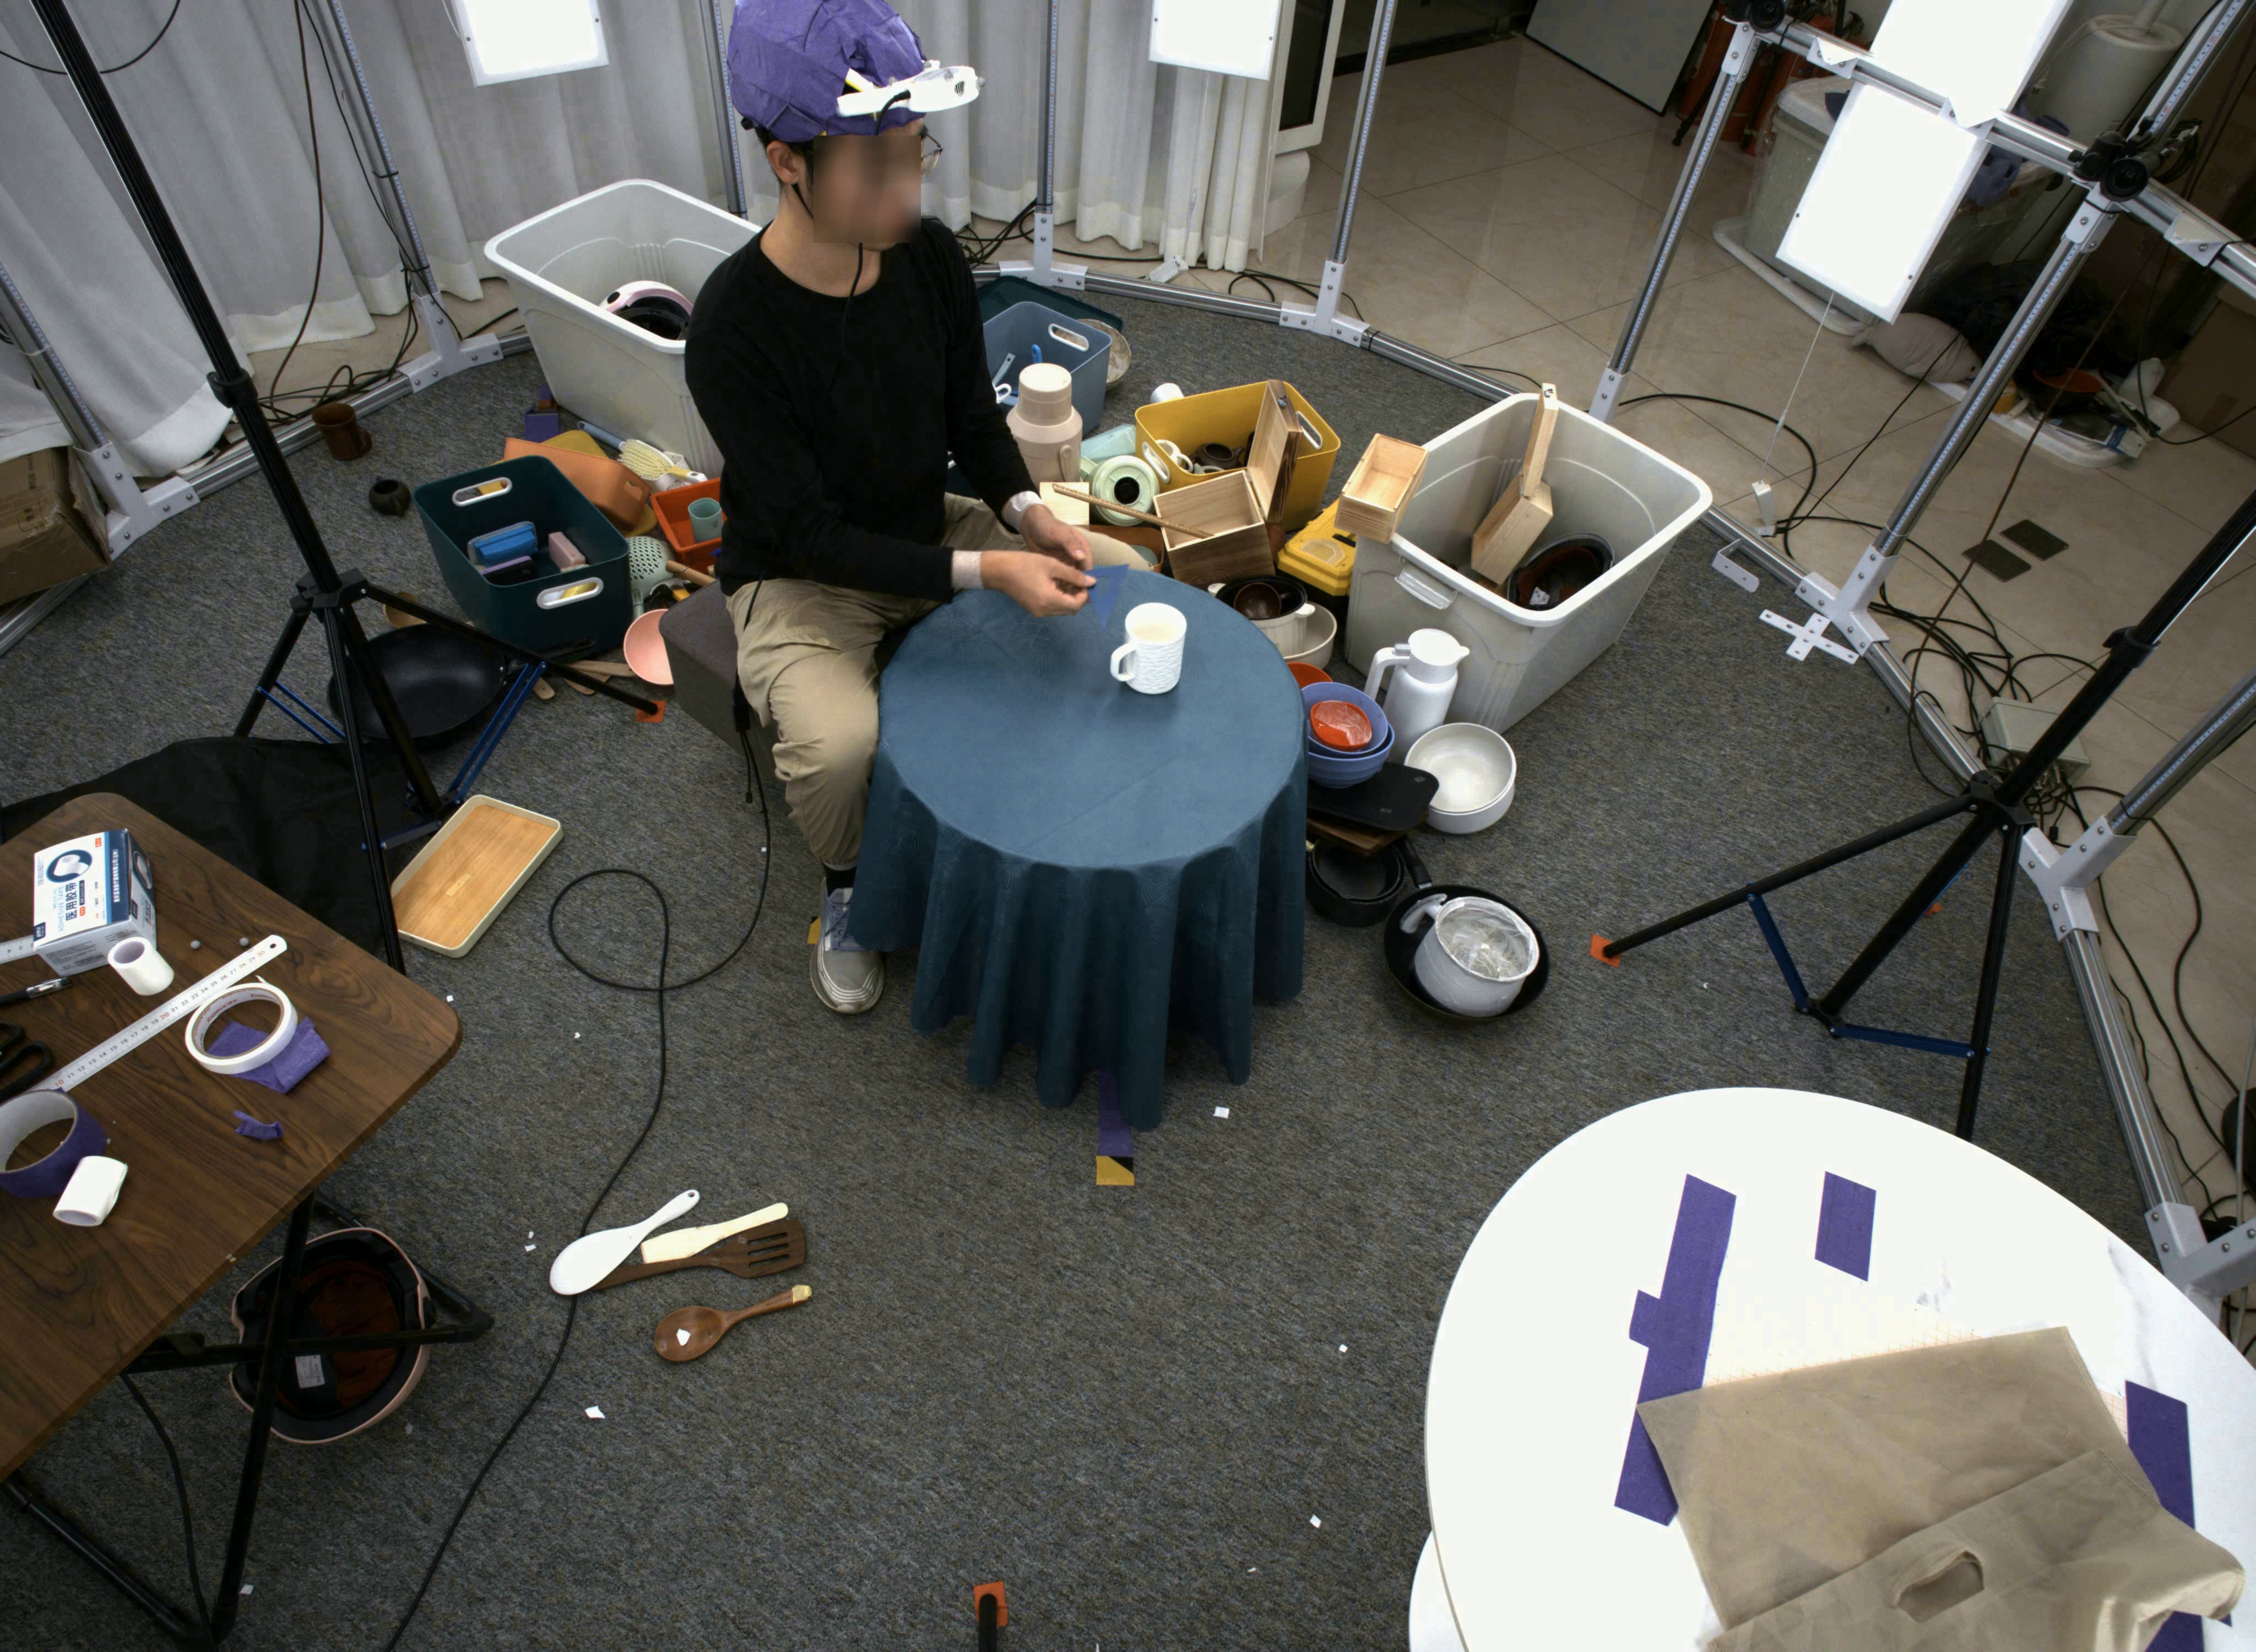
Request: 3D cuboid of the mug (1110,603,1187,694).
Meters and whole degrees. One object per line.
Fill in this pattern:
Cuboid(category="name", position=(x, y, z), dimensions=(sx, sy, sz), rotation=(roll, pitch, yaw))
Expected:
Cuboid(category="mug", position=(0.024, -0.243, 1.816), dimensions=(0.119, 0.099, 0.086), rotation=(-31, 59, -27))

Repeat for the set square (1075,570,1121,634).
Cuboid(category="set square", position=(-0.056, -0.316, 1.774), dimensions=(0.061, 0.006, 0.134), rotation=(17, 54, 8))
